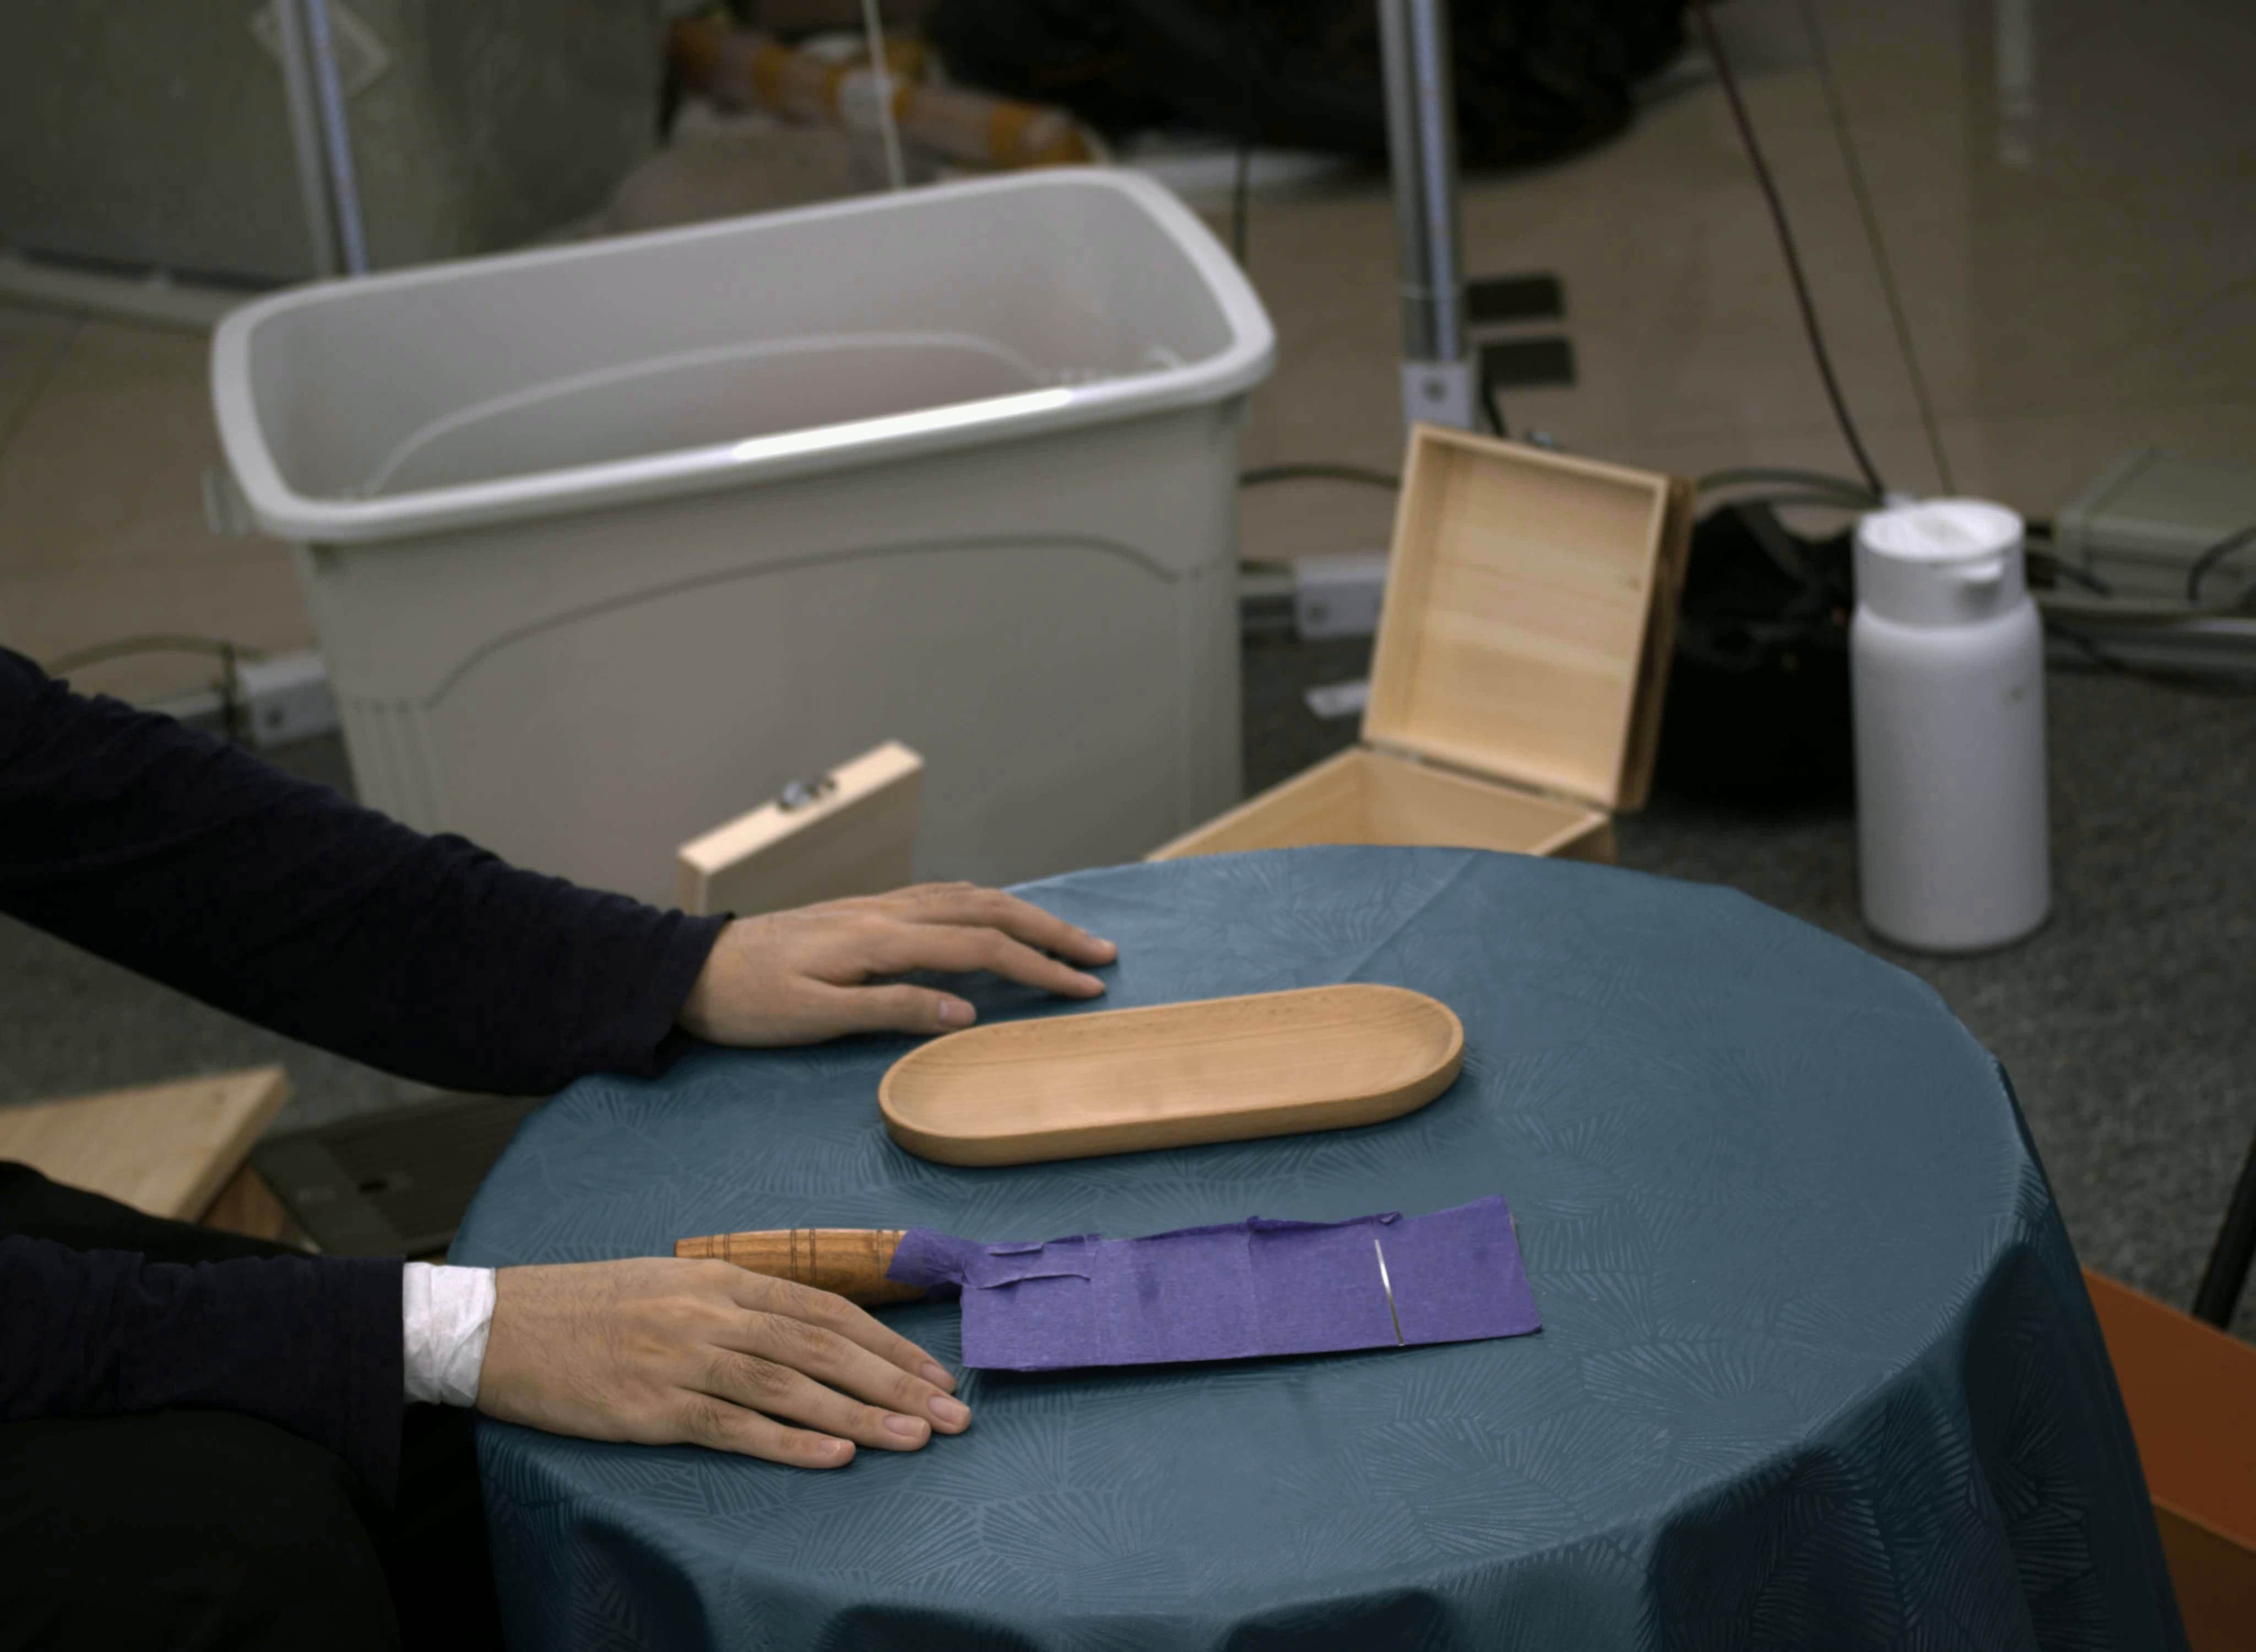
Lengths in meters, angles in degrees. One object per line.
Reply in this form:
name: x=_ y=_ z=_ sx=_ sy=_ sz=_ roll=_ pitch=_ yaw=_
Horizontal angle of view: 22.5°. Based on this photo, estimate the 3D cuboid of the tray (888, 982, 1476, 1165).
tray: x=0.021 y=0.097 z=2.217 sx=0.231 sy=0.020 sz=0.100 roll=-6 pitch=25 yaw=-1

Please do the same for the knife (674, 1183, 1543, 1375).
knife: x=-0.009 y=0.167 z=2.060 sx=0.315 sy=0.033 sz=0.102 roll=-6 pitch=24 yaw=0
